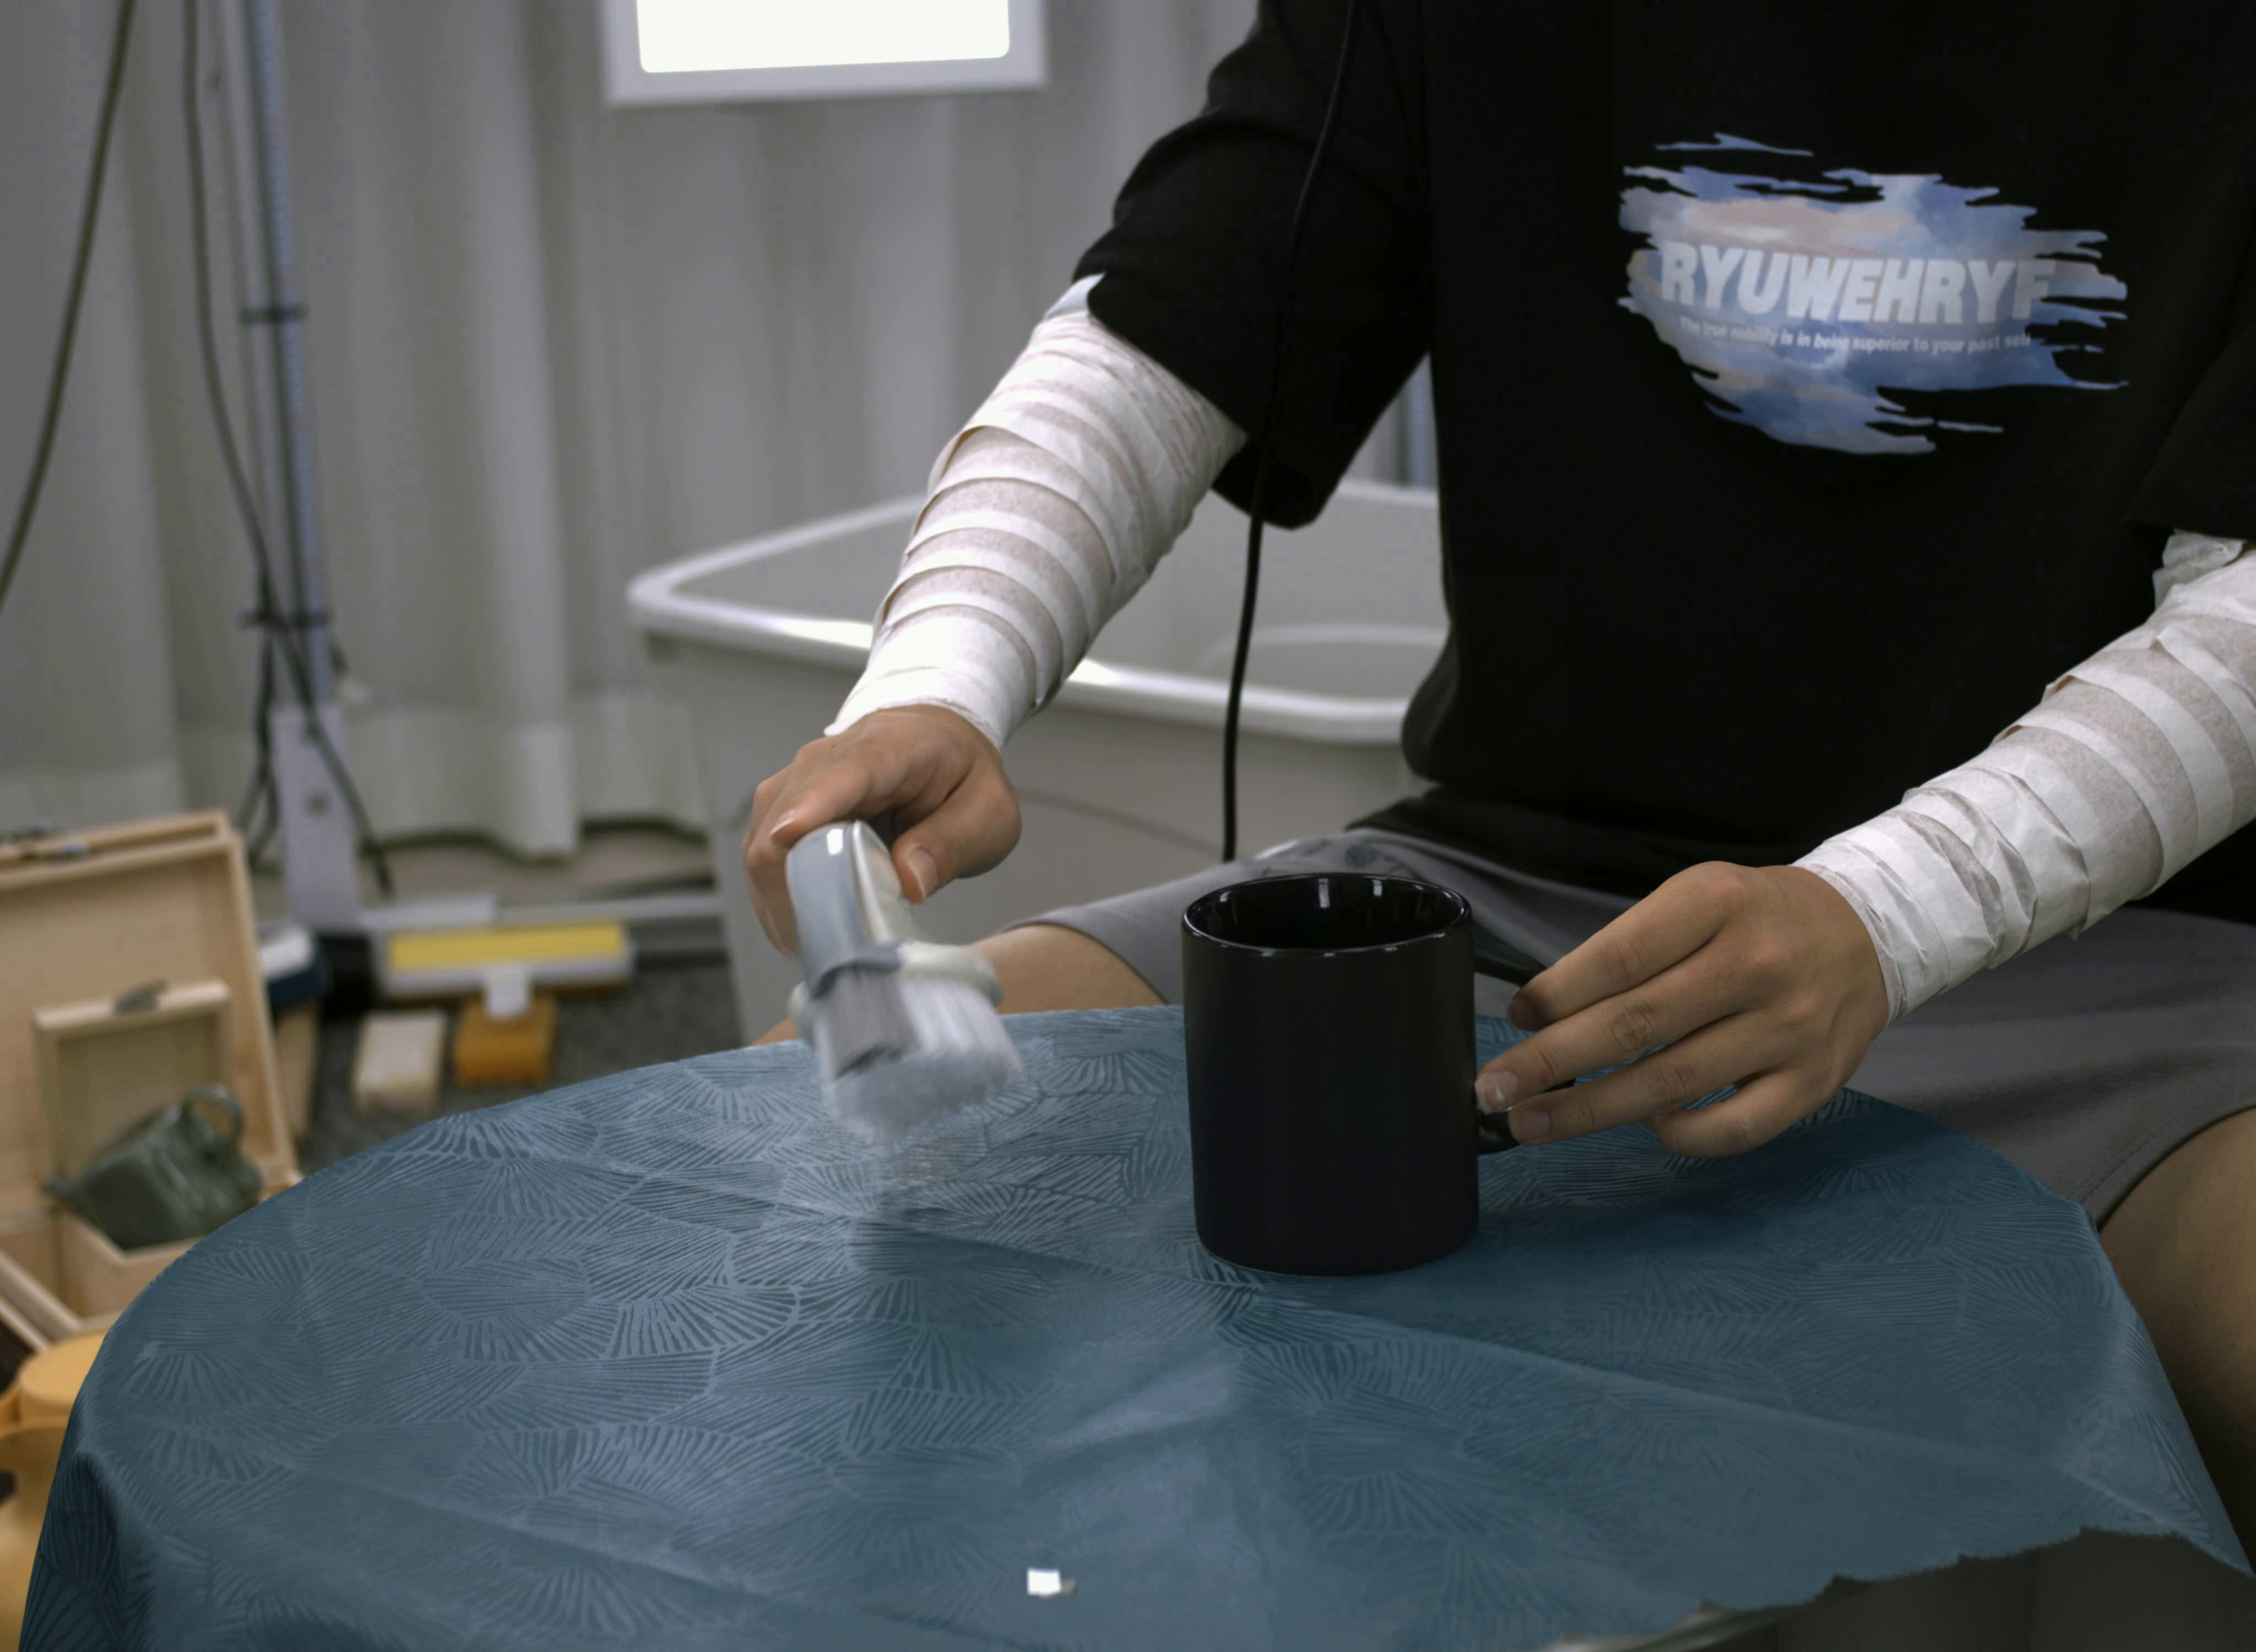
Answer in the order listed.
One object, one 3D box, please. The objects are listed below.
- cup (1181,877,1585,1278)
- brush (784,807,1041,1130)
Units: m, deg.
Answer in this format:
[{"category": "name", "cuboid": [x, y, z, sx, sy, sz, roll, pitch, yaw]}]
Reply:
[{"category": "cup", "cuboid": [0.079, 0.074, 1.656, 0.123, 0.105, 0.089, -5, 10, -13]}, {"category": "brush", "cuboid": [-0.075, 0.036, 1.670, 0.061, 0.095, 0.175, -27, -9, 3]}]
